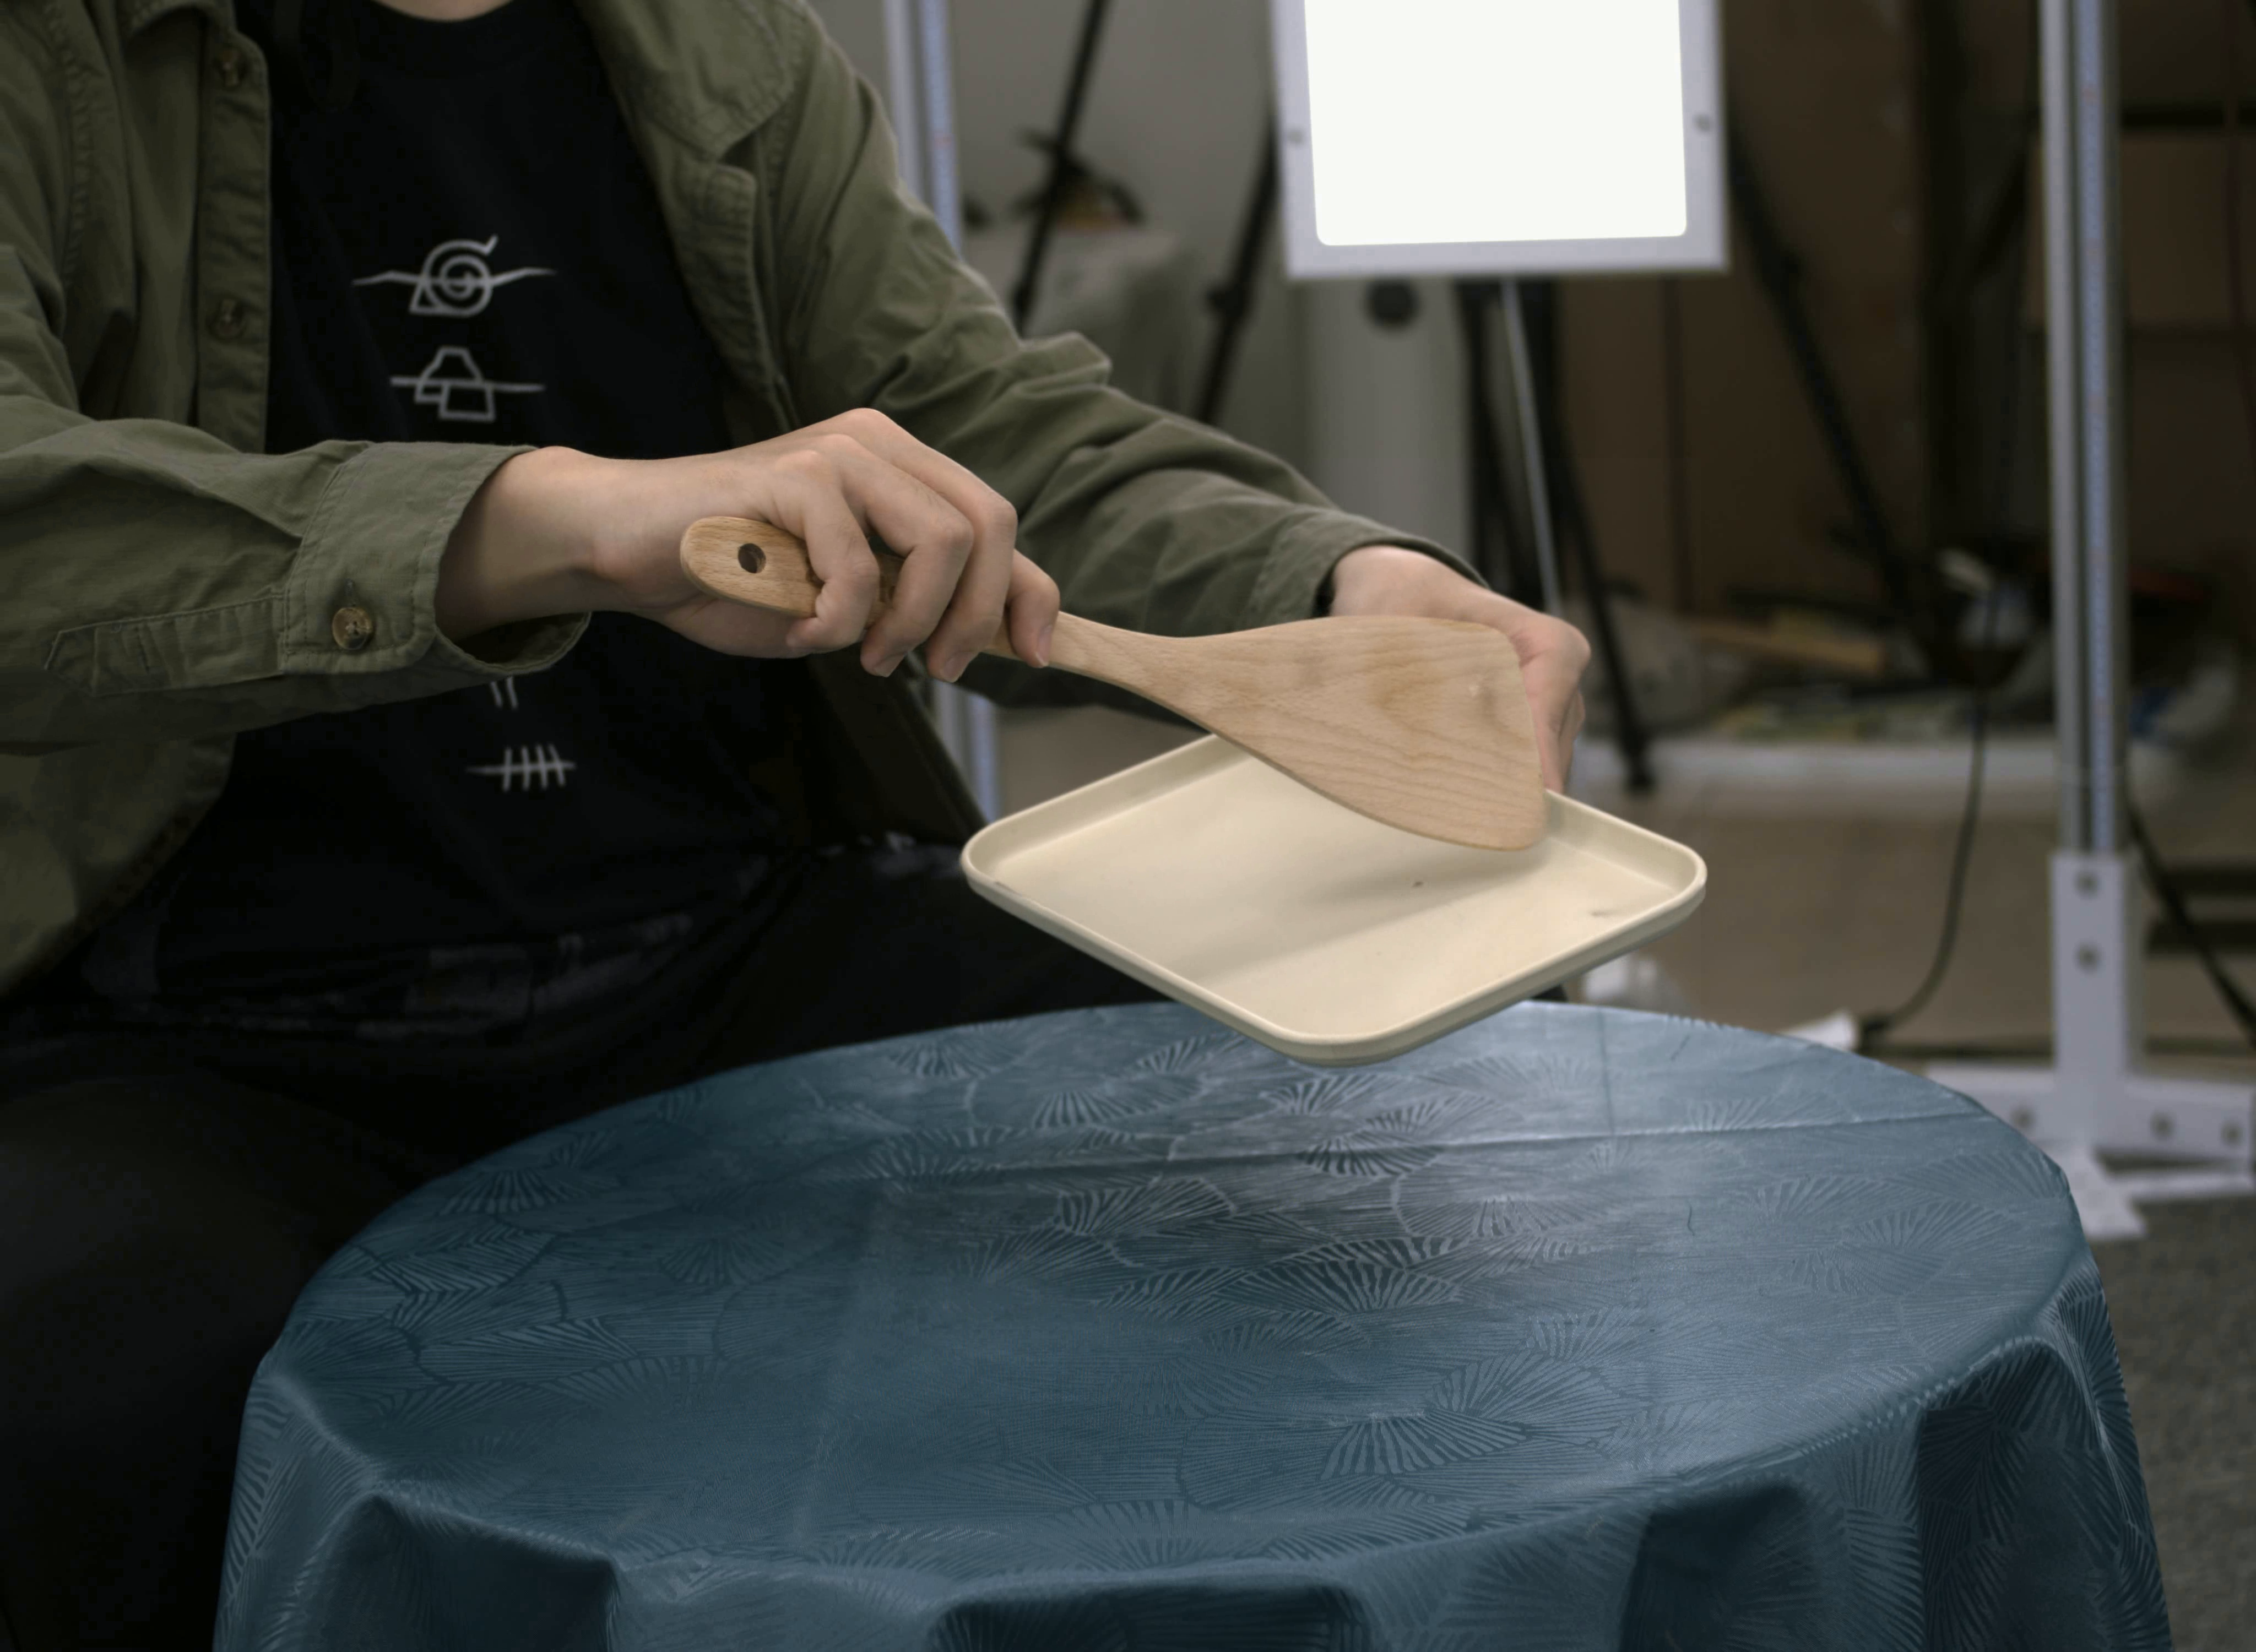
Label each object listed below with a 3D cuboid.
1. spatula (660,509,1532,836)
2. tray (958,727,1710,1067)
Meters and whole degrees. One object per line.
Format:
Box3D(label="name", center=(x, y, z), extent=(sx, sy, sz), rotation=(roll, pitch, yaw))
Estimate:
Box3D(label="spatula", center=(-0.005, -0.060, 1.758), extent=(0.320, 0.080, 0.017), rotation=(12, -22, -30))
Box3D(label="tray", center=(0.066, 0.019, 1.829), extent=(0.168, 0.017, 0.244), rotation=(-22, 26, -27))
